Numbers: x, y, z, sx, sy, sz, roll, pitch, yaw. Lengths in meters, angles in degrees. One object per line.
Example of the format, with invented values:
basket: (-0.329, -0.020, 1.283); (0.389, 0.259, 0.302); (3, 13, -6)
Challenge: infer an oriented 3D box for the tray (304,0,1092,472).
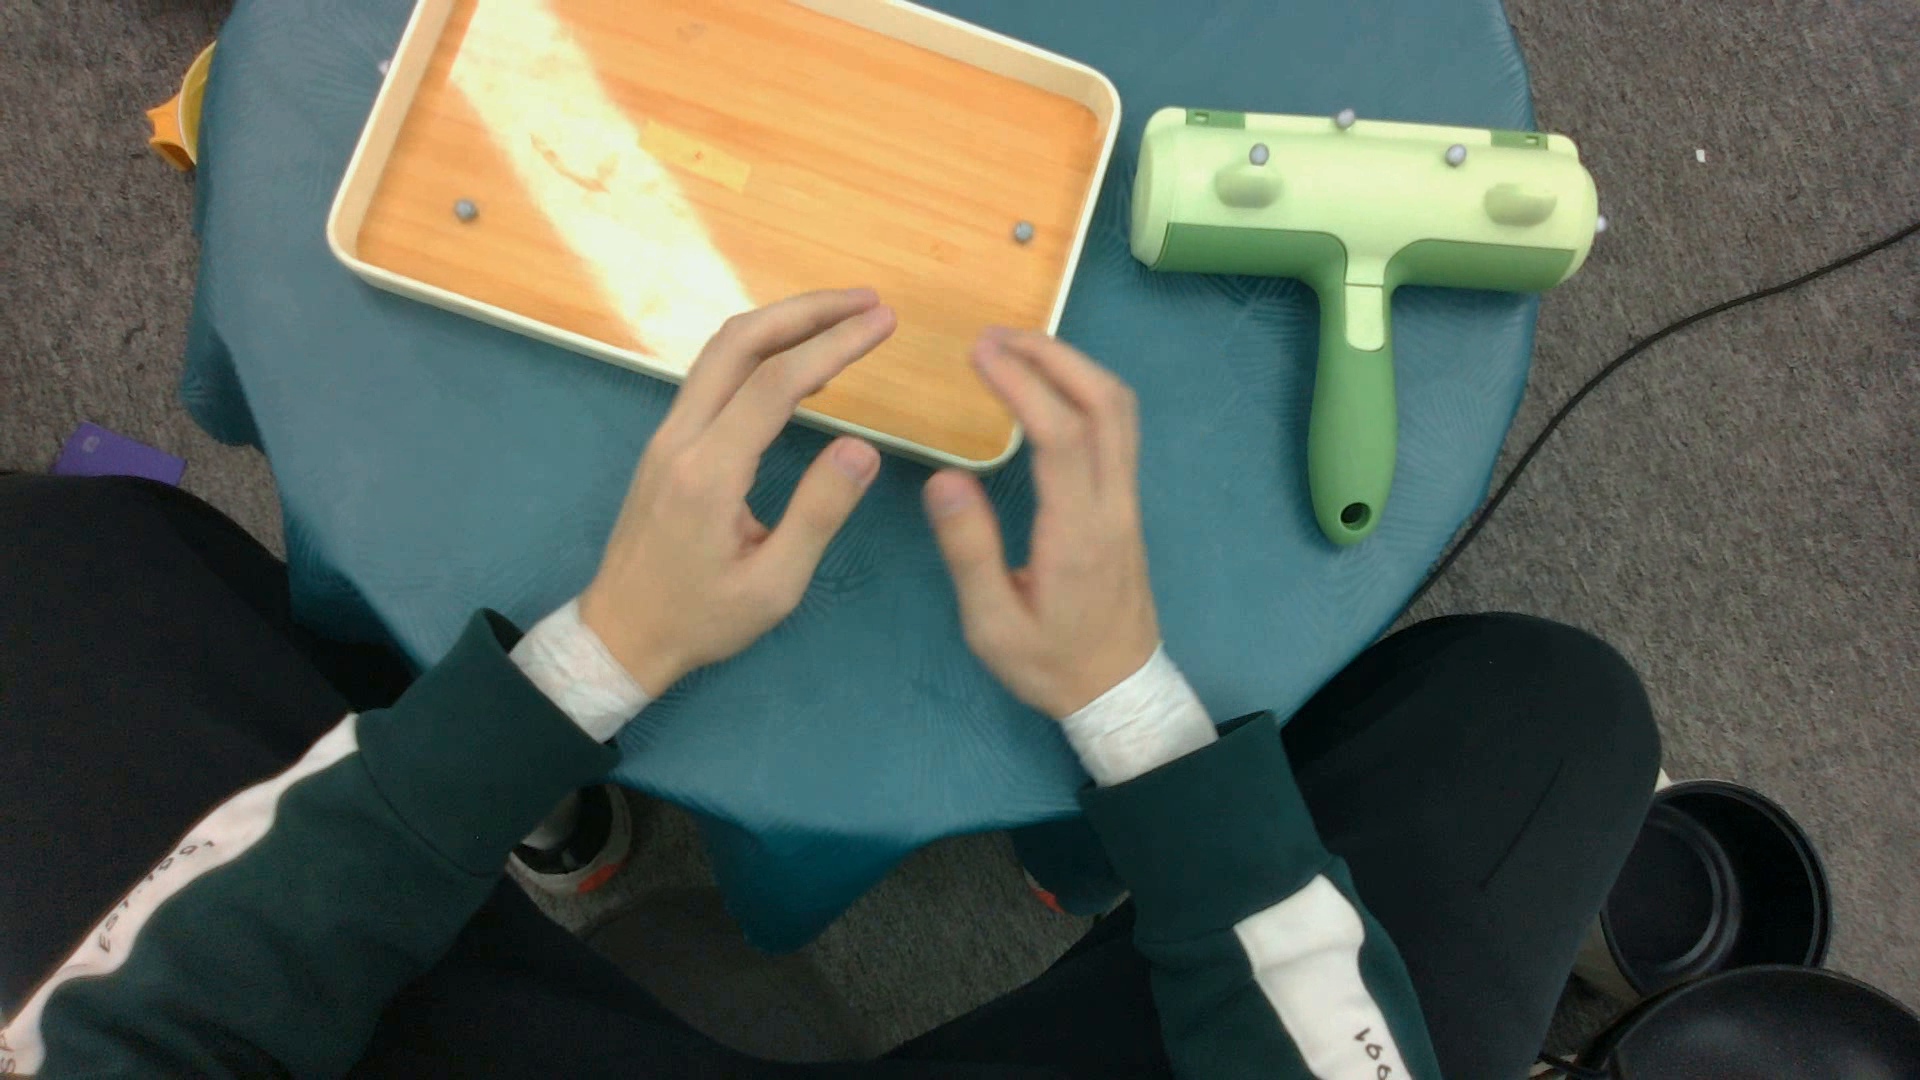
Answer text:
tray: (-0.106, -0.157, 0.599); (0.300, 0.027, 0.192); (16, 80, -3)

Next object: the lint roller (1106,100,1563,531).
lint roller: (0.165, -0.100, 0.592); (0.199, 0.082, 0.183); (2, 76, -6)
